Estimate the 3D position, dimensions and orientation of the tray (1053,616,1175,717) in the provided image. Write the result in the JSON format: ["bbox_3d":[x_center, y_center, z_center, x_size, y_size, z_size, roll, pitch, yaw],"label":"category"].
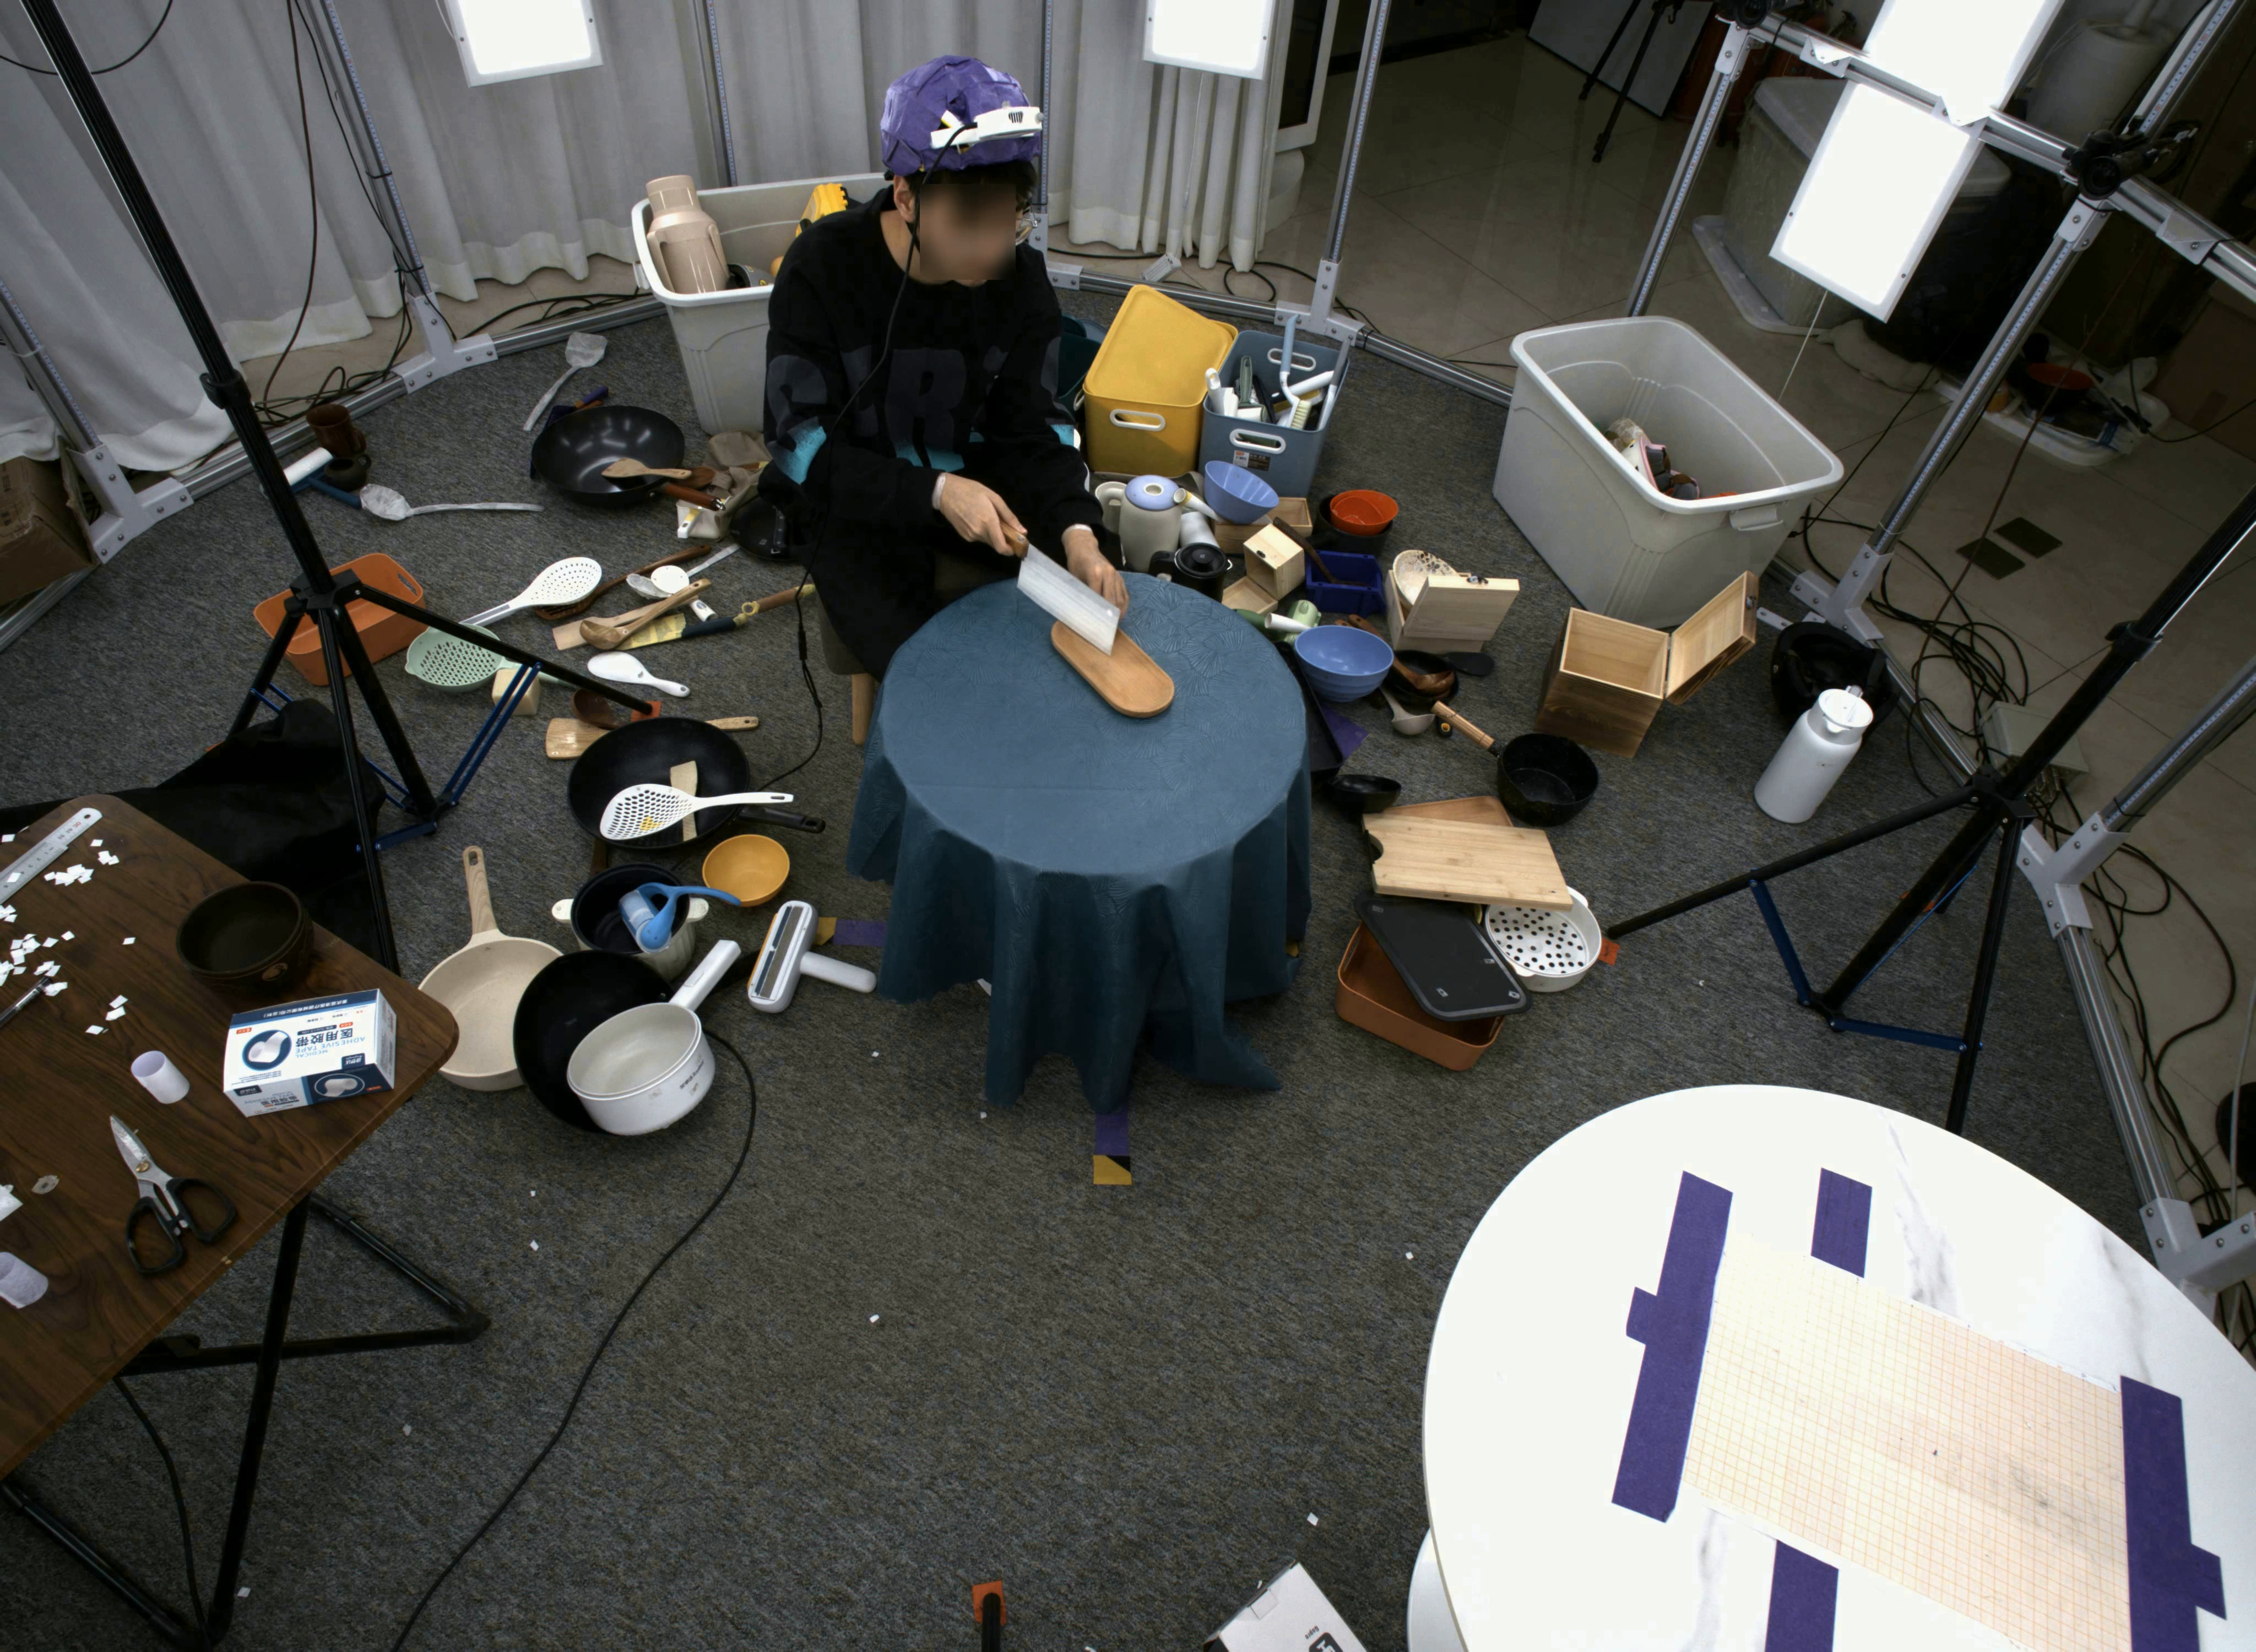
[{"bbox_3d":[-0.022,-0.237,1.862,0.102,0.020,0.235,-25,54,-25],"label":"tray"}]

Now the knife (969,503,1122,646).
[{"bbox_3d":[-0.125,-0.365,1.889,0.310,0.091,0.021,39,52,21],"label":"knife"}]
